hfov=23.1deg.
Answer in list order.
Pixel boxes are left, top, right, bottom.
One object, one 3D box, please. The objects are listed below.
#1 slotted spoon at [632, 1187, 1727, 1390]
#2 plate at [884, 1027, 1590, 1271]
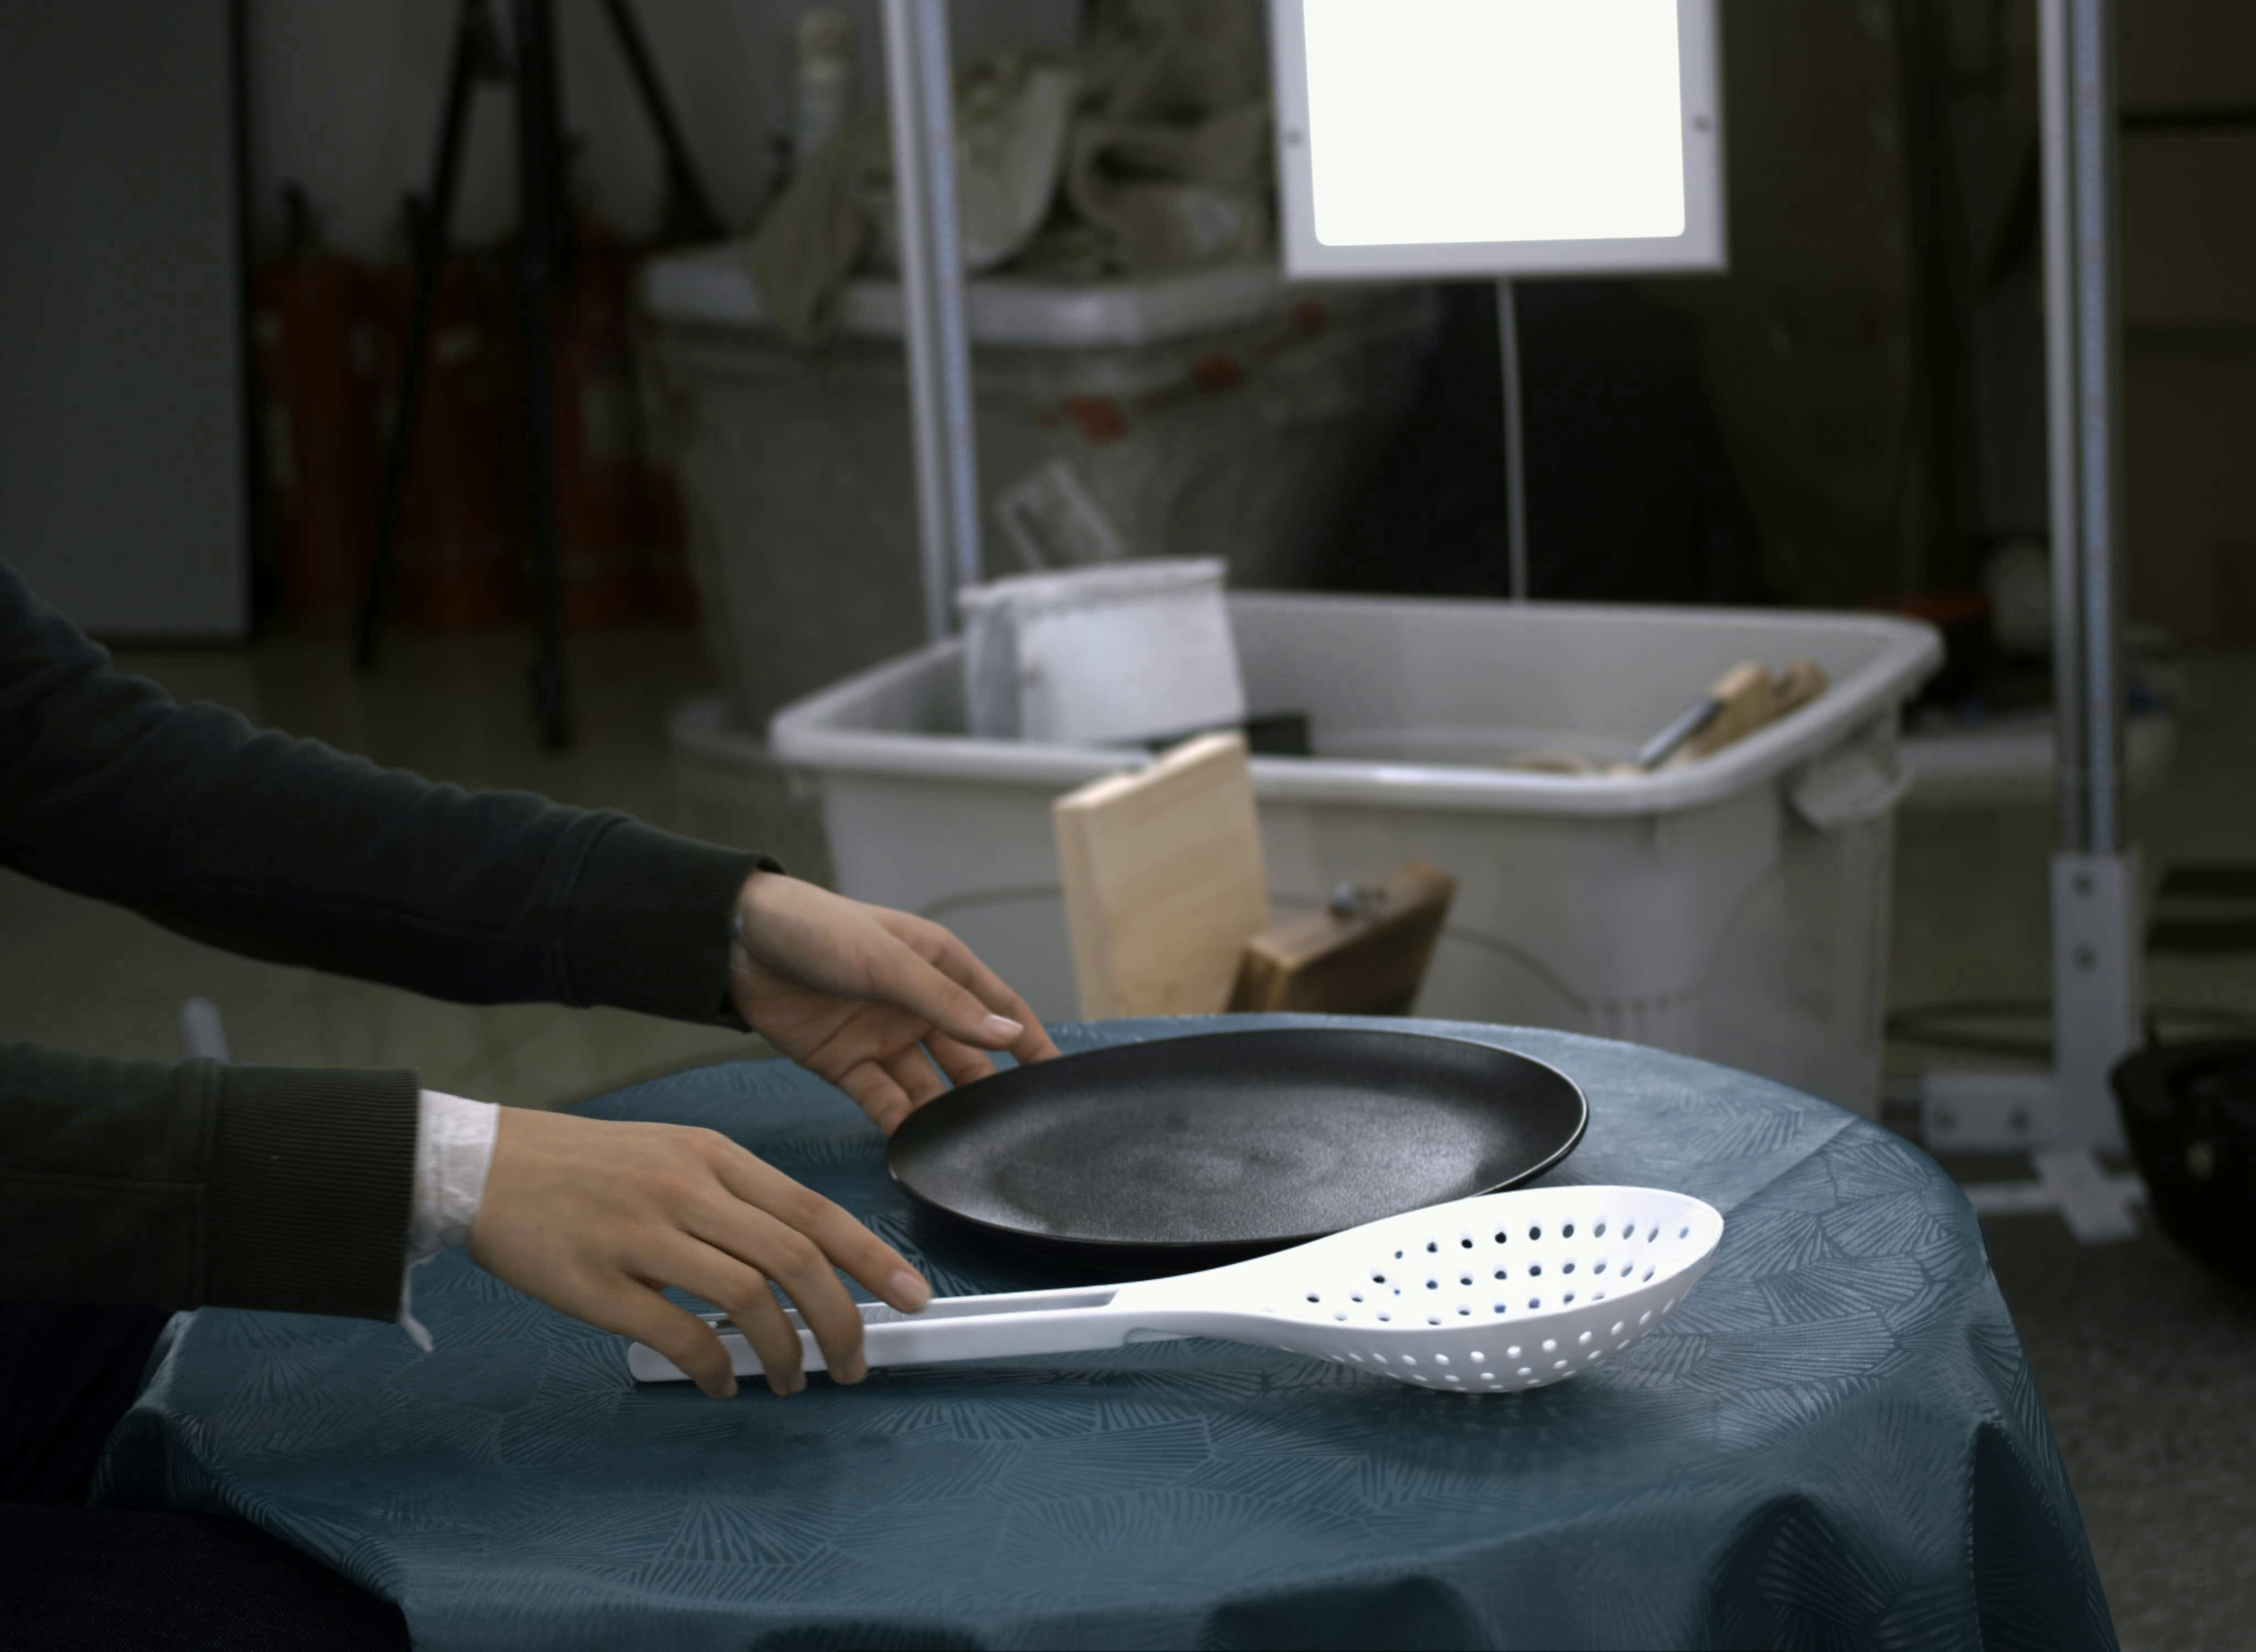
[{"bbox_3d":[0.013,0.149,1.705,0.353,0.046,0.134,-2,12,16],"label":"slotted spoon"},{"bbox_3d":[0.038,0.113,1.889,0.244,0.023,0.244,-5,14,0],"label":"plate"}]
